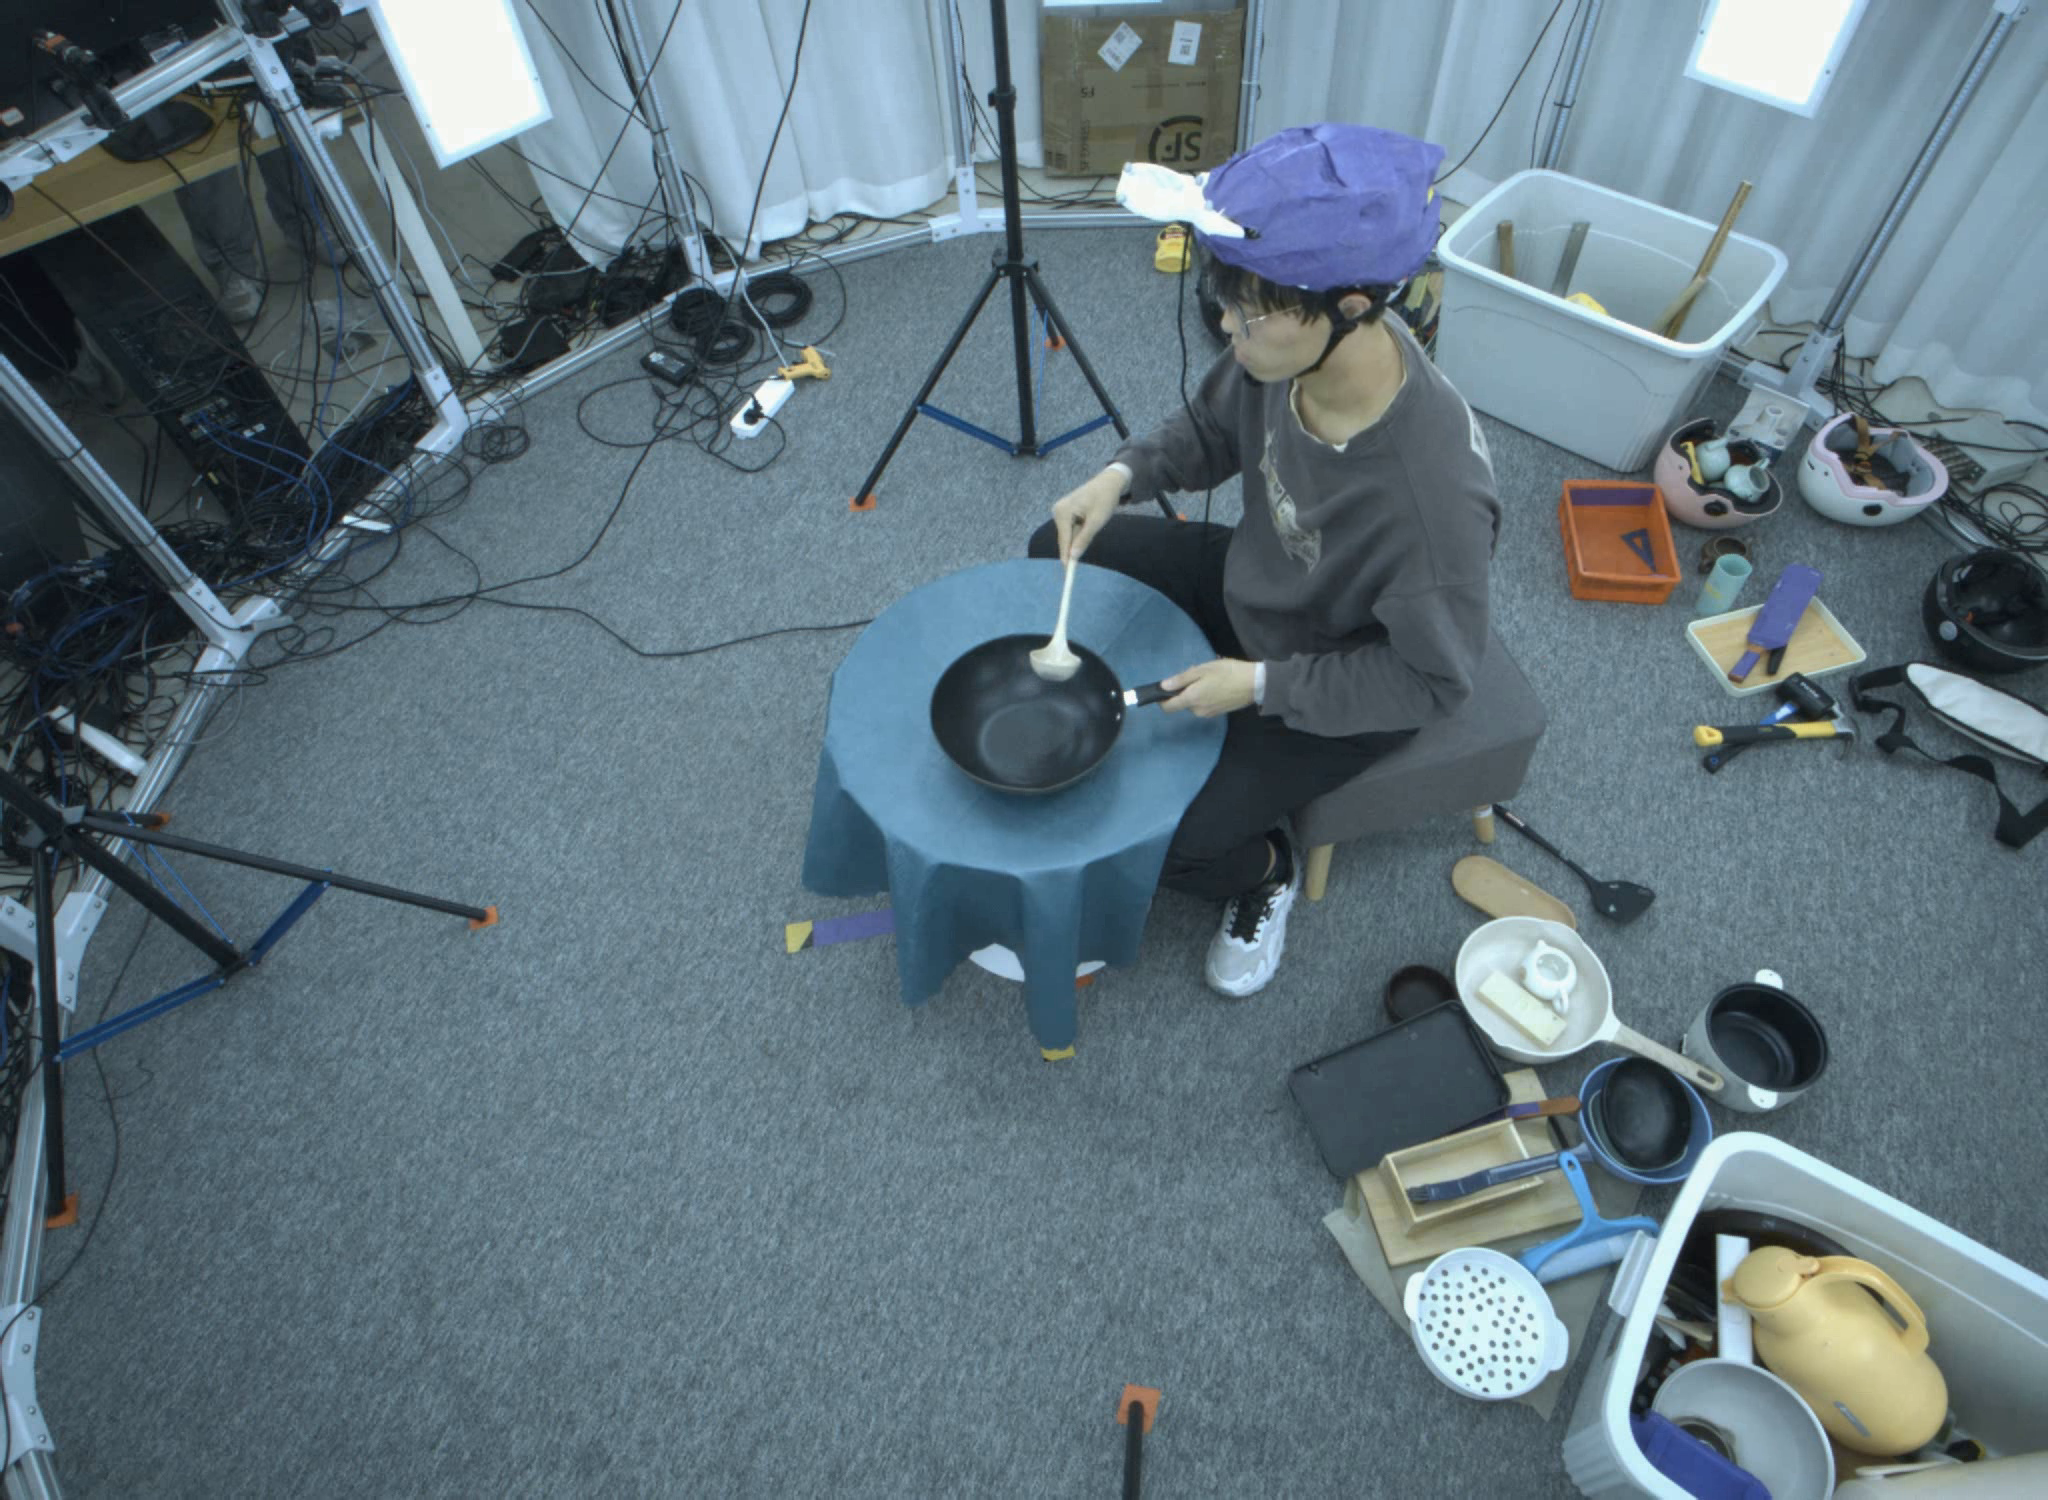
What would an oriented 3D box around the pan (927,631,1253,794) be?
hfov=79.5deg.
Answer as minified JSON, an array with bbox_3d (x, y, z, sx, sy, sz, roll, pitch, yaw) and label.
[{"bbox_3d":[0.095,-0.052,1.768,0.465,0.088,0.284,-7,54,-5],"label":"pan"}]

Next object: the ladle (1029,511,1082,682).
[{"bbox_3d":[0.055,-0.222,1.717,0.072,0.073,0.254,7,85,4],"label":"ladle"}]
